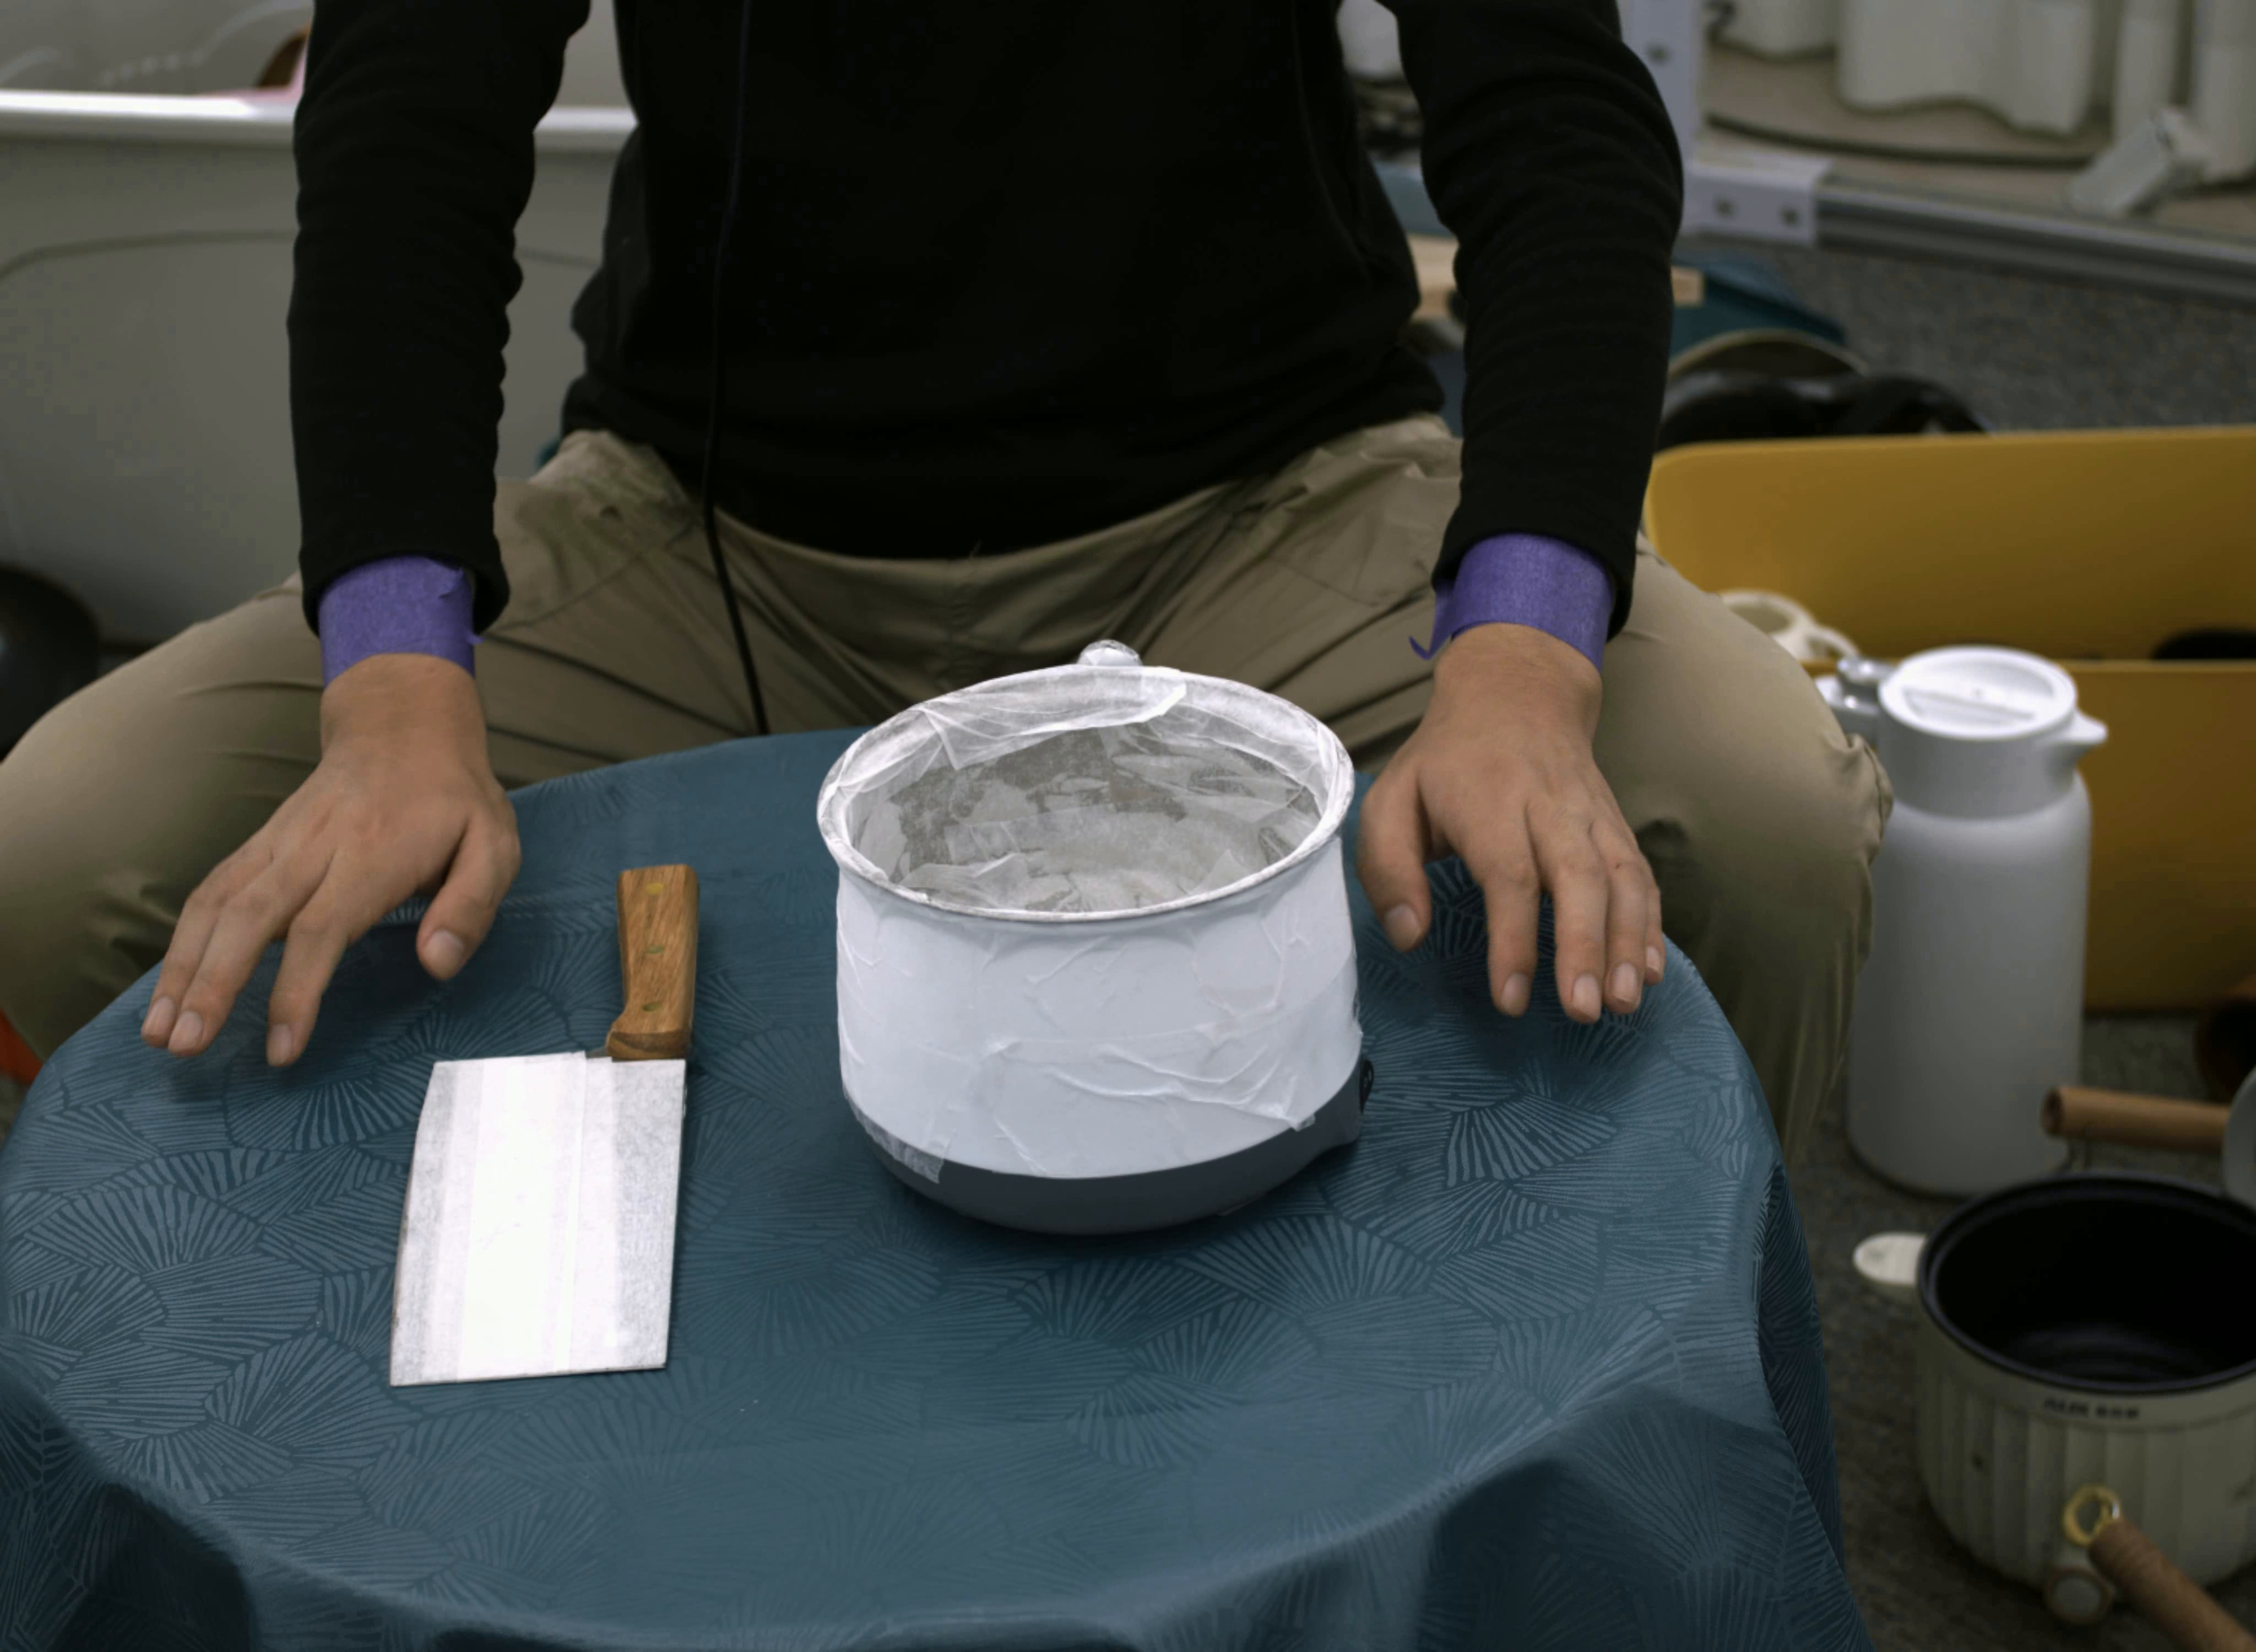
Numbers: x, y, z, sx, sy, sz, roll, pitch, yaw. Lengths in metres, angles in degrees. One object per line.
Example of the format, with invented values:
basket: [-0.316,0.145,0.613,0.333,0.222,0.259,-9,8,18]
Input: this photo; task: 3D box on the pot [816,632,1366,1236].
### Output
pot: [-0.010,0.029,1.889,0.178,0.135,0.237,-1,28,3]

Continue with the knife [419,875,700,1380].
knife: [-0.193,0.100,1.906,0.092,0.021,0.310,-2,29,-1]
